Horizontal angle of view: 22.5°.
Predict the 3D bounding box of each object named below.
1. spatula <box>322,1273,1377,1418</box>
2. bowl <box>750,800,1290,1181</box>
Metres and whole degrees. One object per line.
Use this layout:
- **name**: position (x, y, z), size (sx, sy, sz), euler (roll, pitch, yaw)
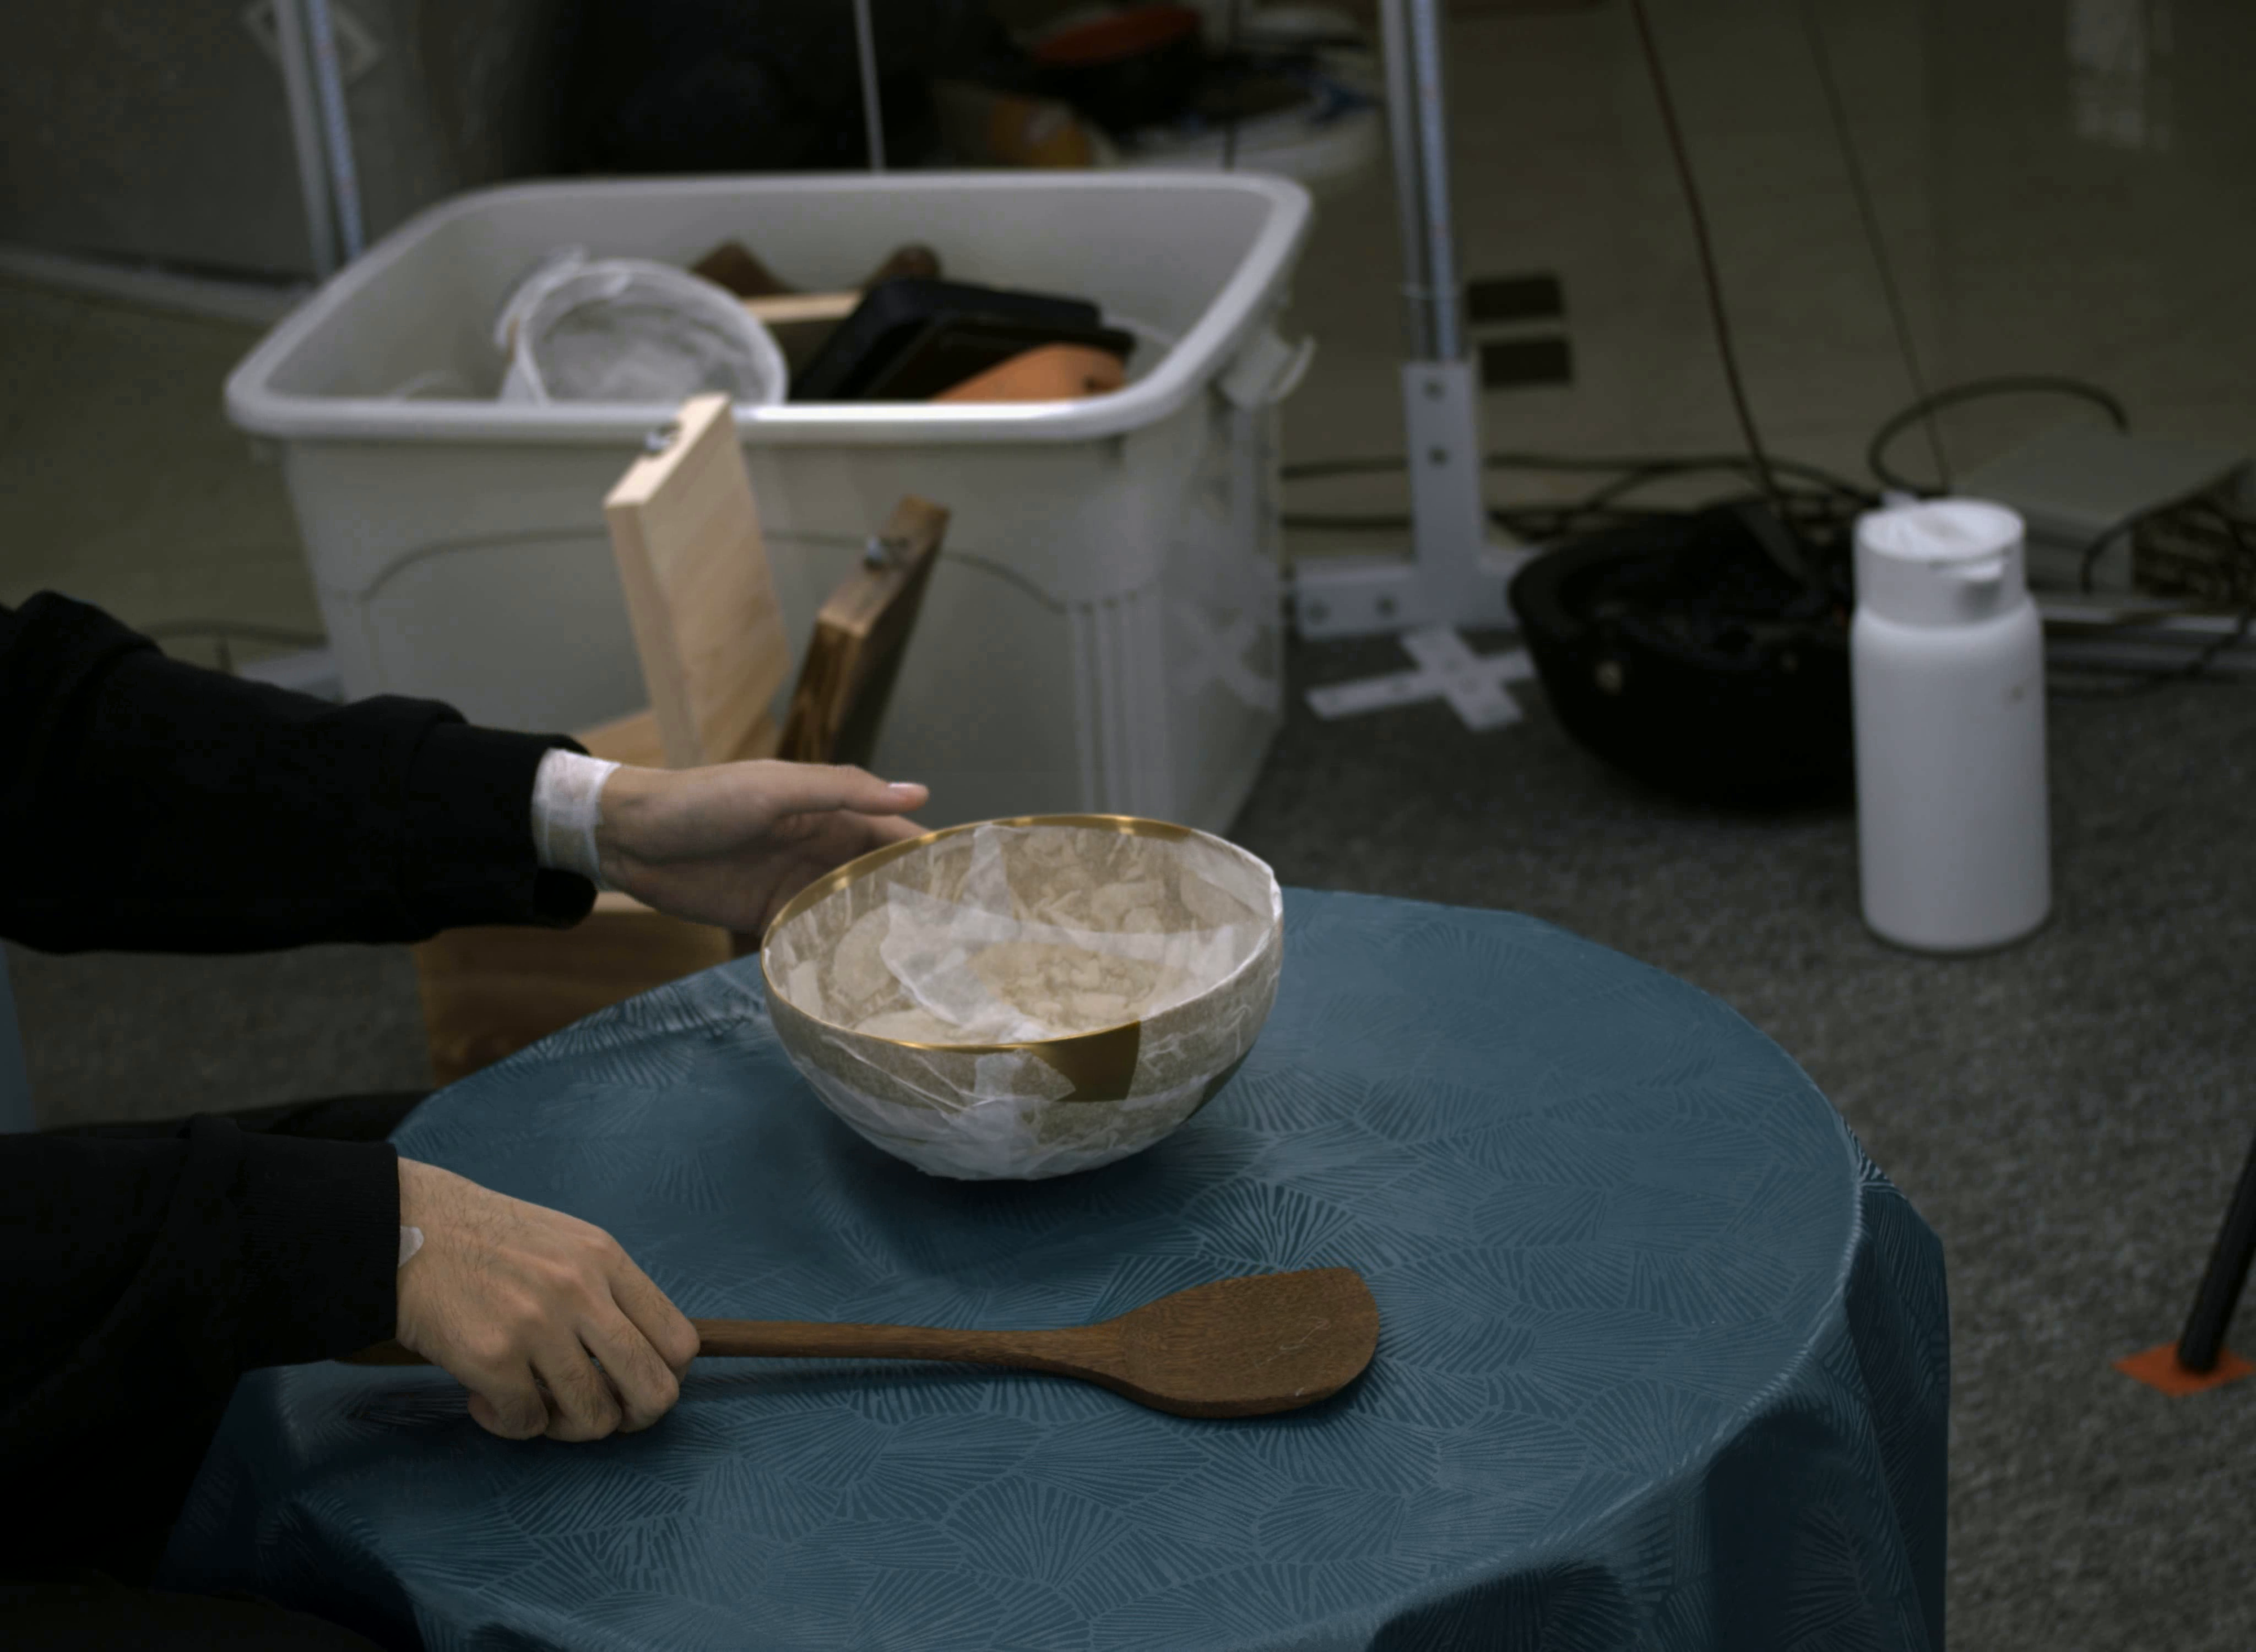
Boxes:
- **spatula**: position (-0.102, 0.187, 2.045), size (0.385, 0.016, 0.095), euler (0, 24, 6)
- **bowl**: position (-0.038, 0.076, 2.184), size (0.214, 0.096, 0.211), euler (-6, 26, 3)
